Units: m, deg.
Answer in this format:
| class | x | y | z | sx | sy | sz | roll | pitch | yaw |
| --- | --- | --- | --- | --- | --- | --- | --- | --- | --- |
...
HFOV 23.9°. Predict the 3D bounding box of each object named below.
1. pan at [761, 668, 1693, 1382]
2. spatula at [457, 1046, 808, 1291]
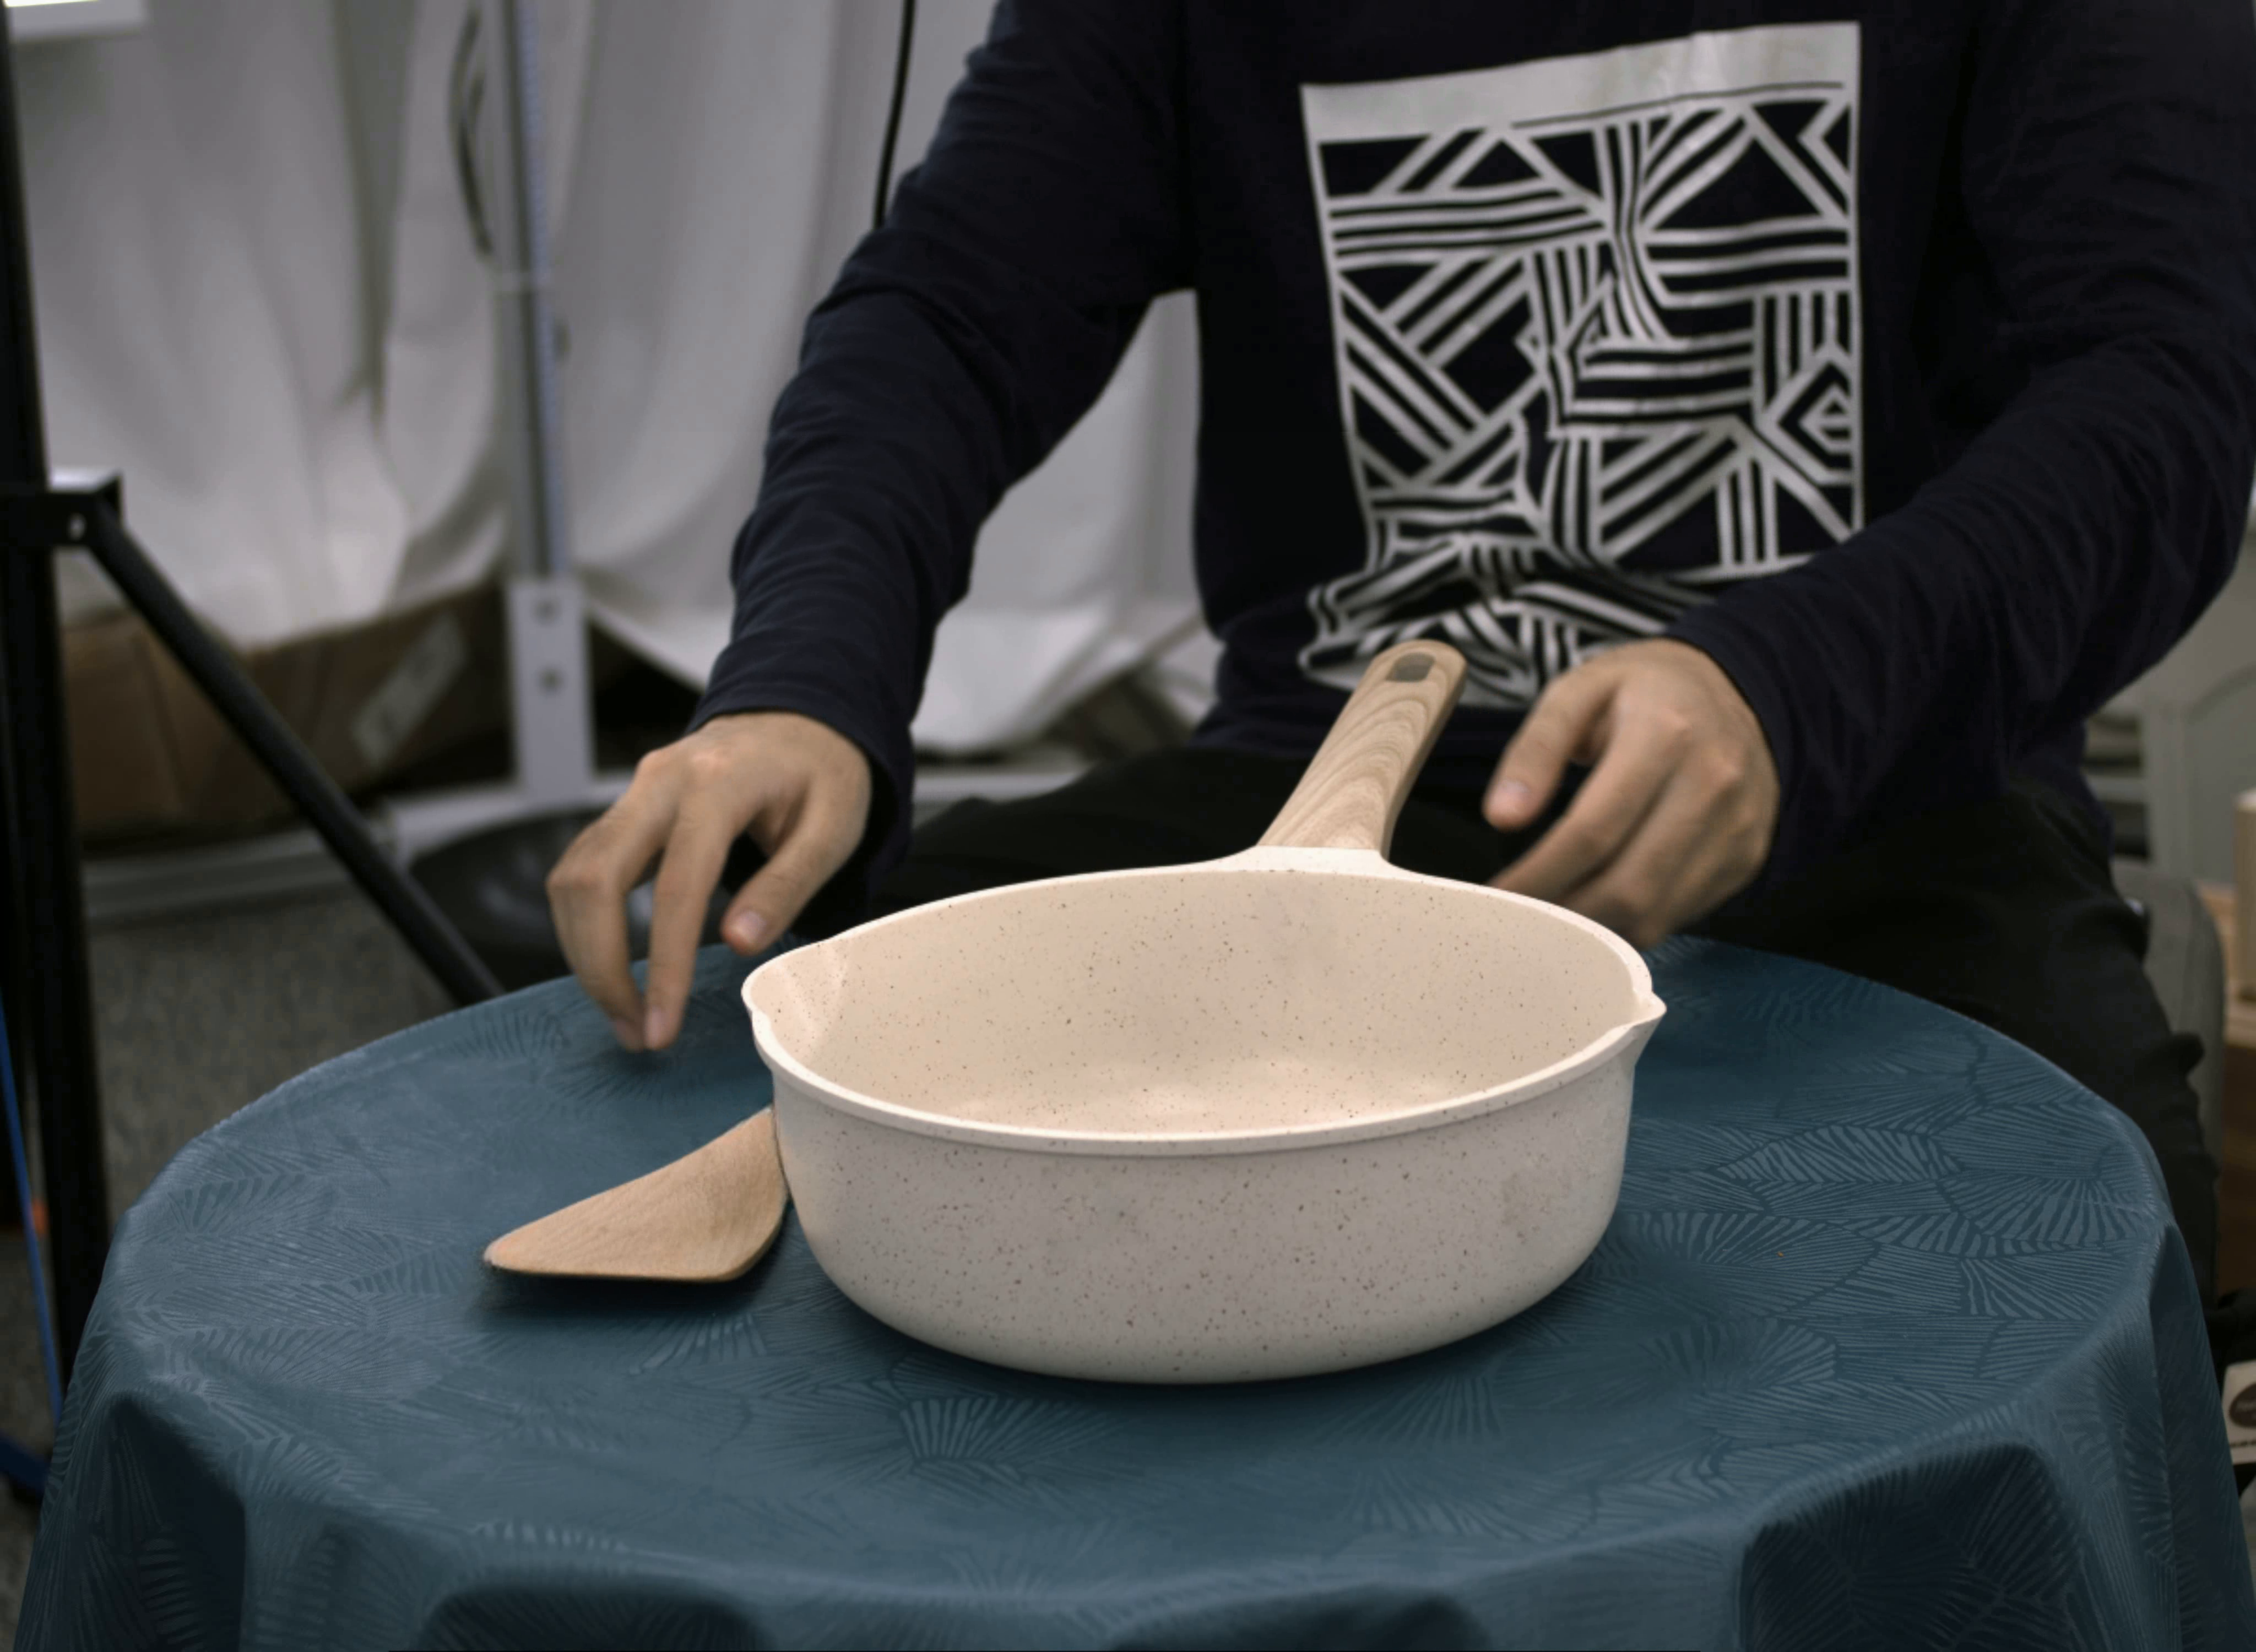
| class | x | y | z | sx | sy | sz | roll | pitch | yaw |
| --- | --- | --- | --- | --- | --- | --- | --- | --- | --- |
| pan | 0.049 | 0.054 | 1.567 | 0.265 | 0.102 | 0.431 | 1 | 15 | 15 |
| spatula | -0.106 | 0.087 | 1.619 | 0.081 | 0.016 | 0.324 | 3 | 17 | 17 |
